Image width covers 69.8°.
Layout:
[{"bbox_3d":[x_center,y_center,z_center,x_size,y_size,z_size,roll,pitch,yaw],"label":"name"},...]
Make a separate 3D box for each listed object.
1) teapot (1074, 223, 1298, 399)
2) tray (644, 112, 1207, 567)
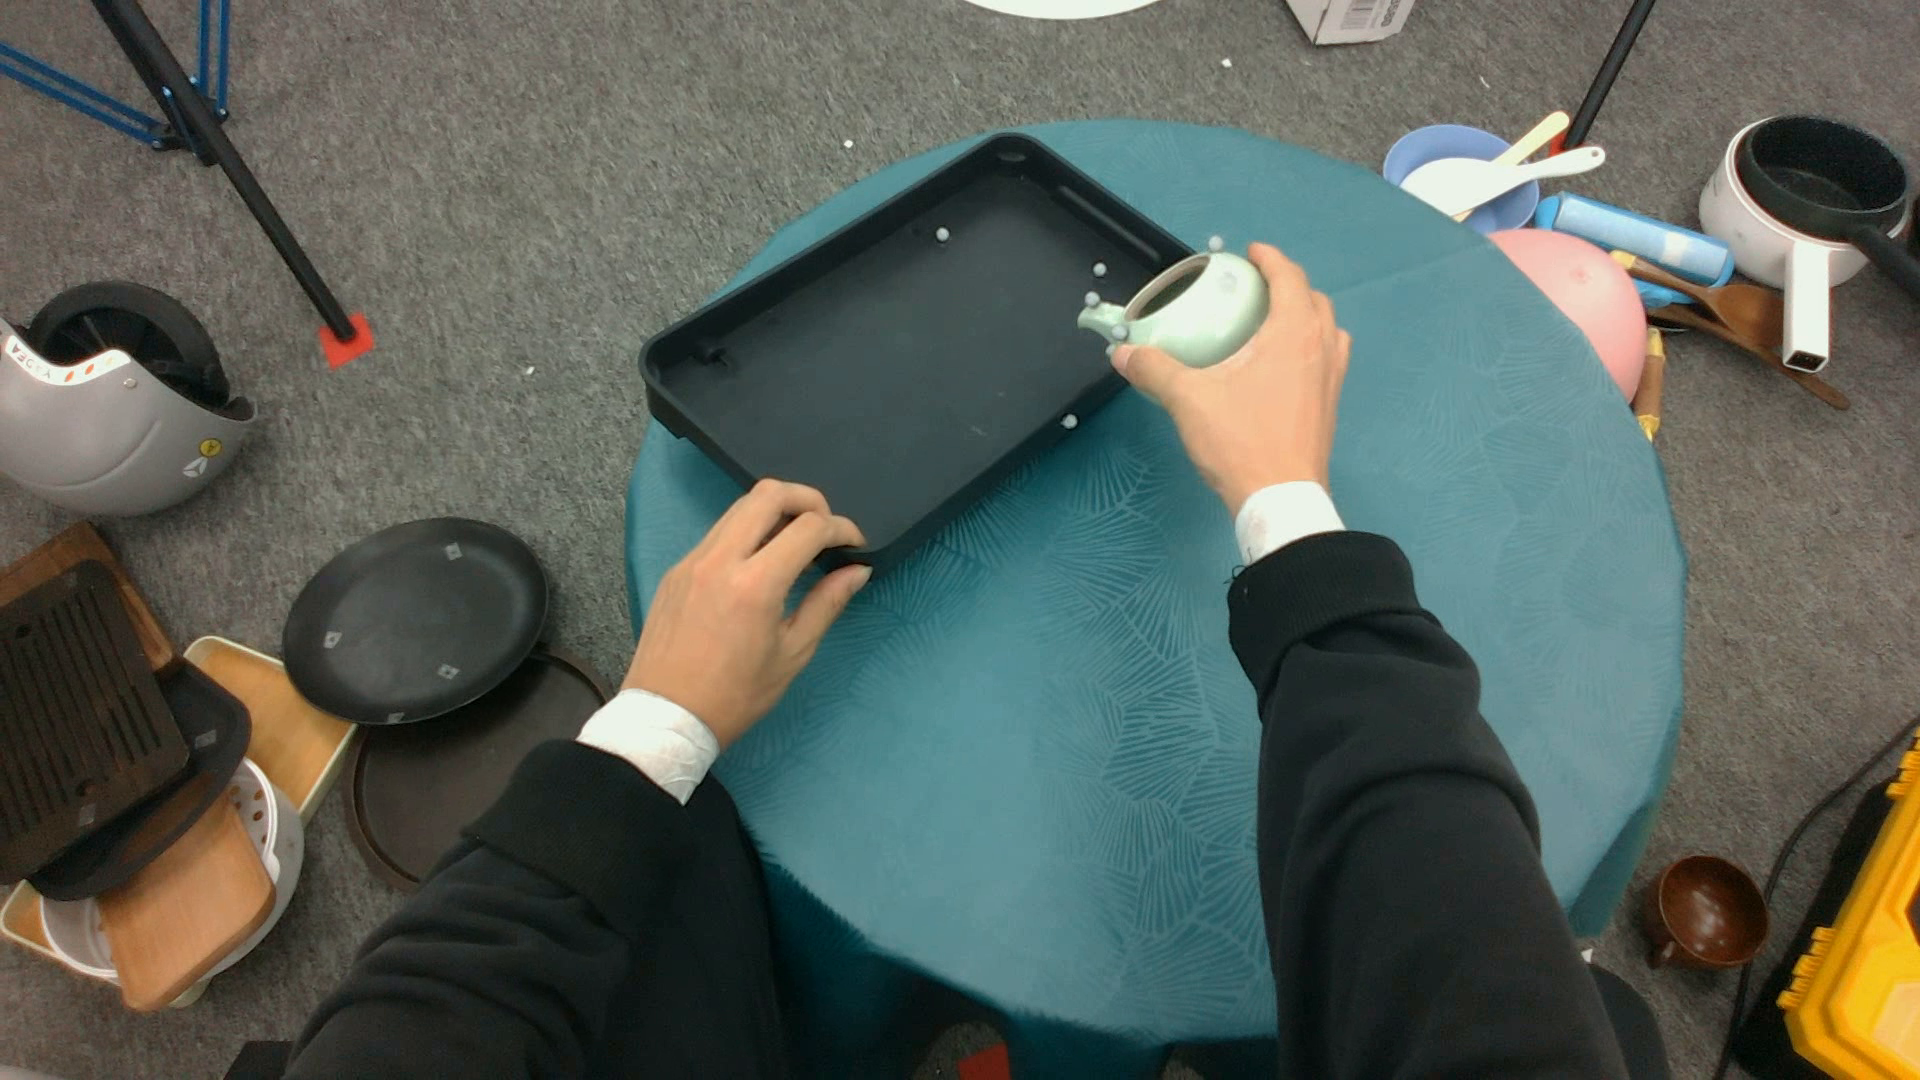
[{"bbox_3d":[0.124,-0.117,0.721,0.074,0.143,0.089,50,62,-18],"label":"teapot"},{"bbox_3d":[-0.009,-0.130,0.801,0.184,0.037,0.319,39,59,18],"label":"tray"}]
